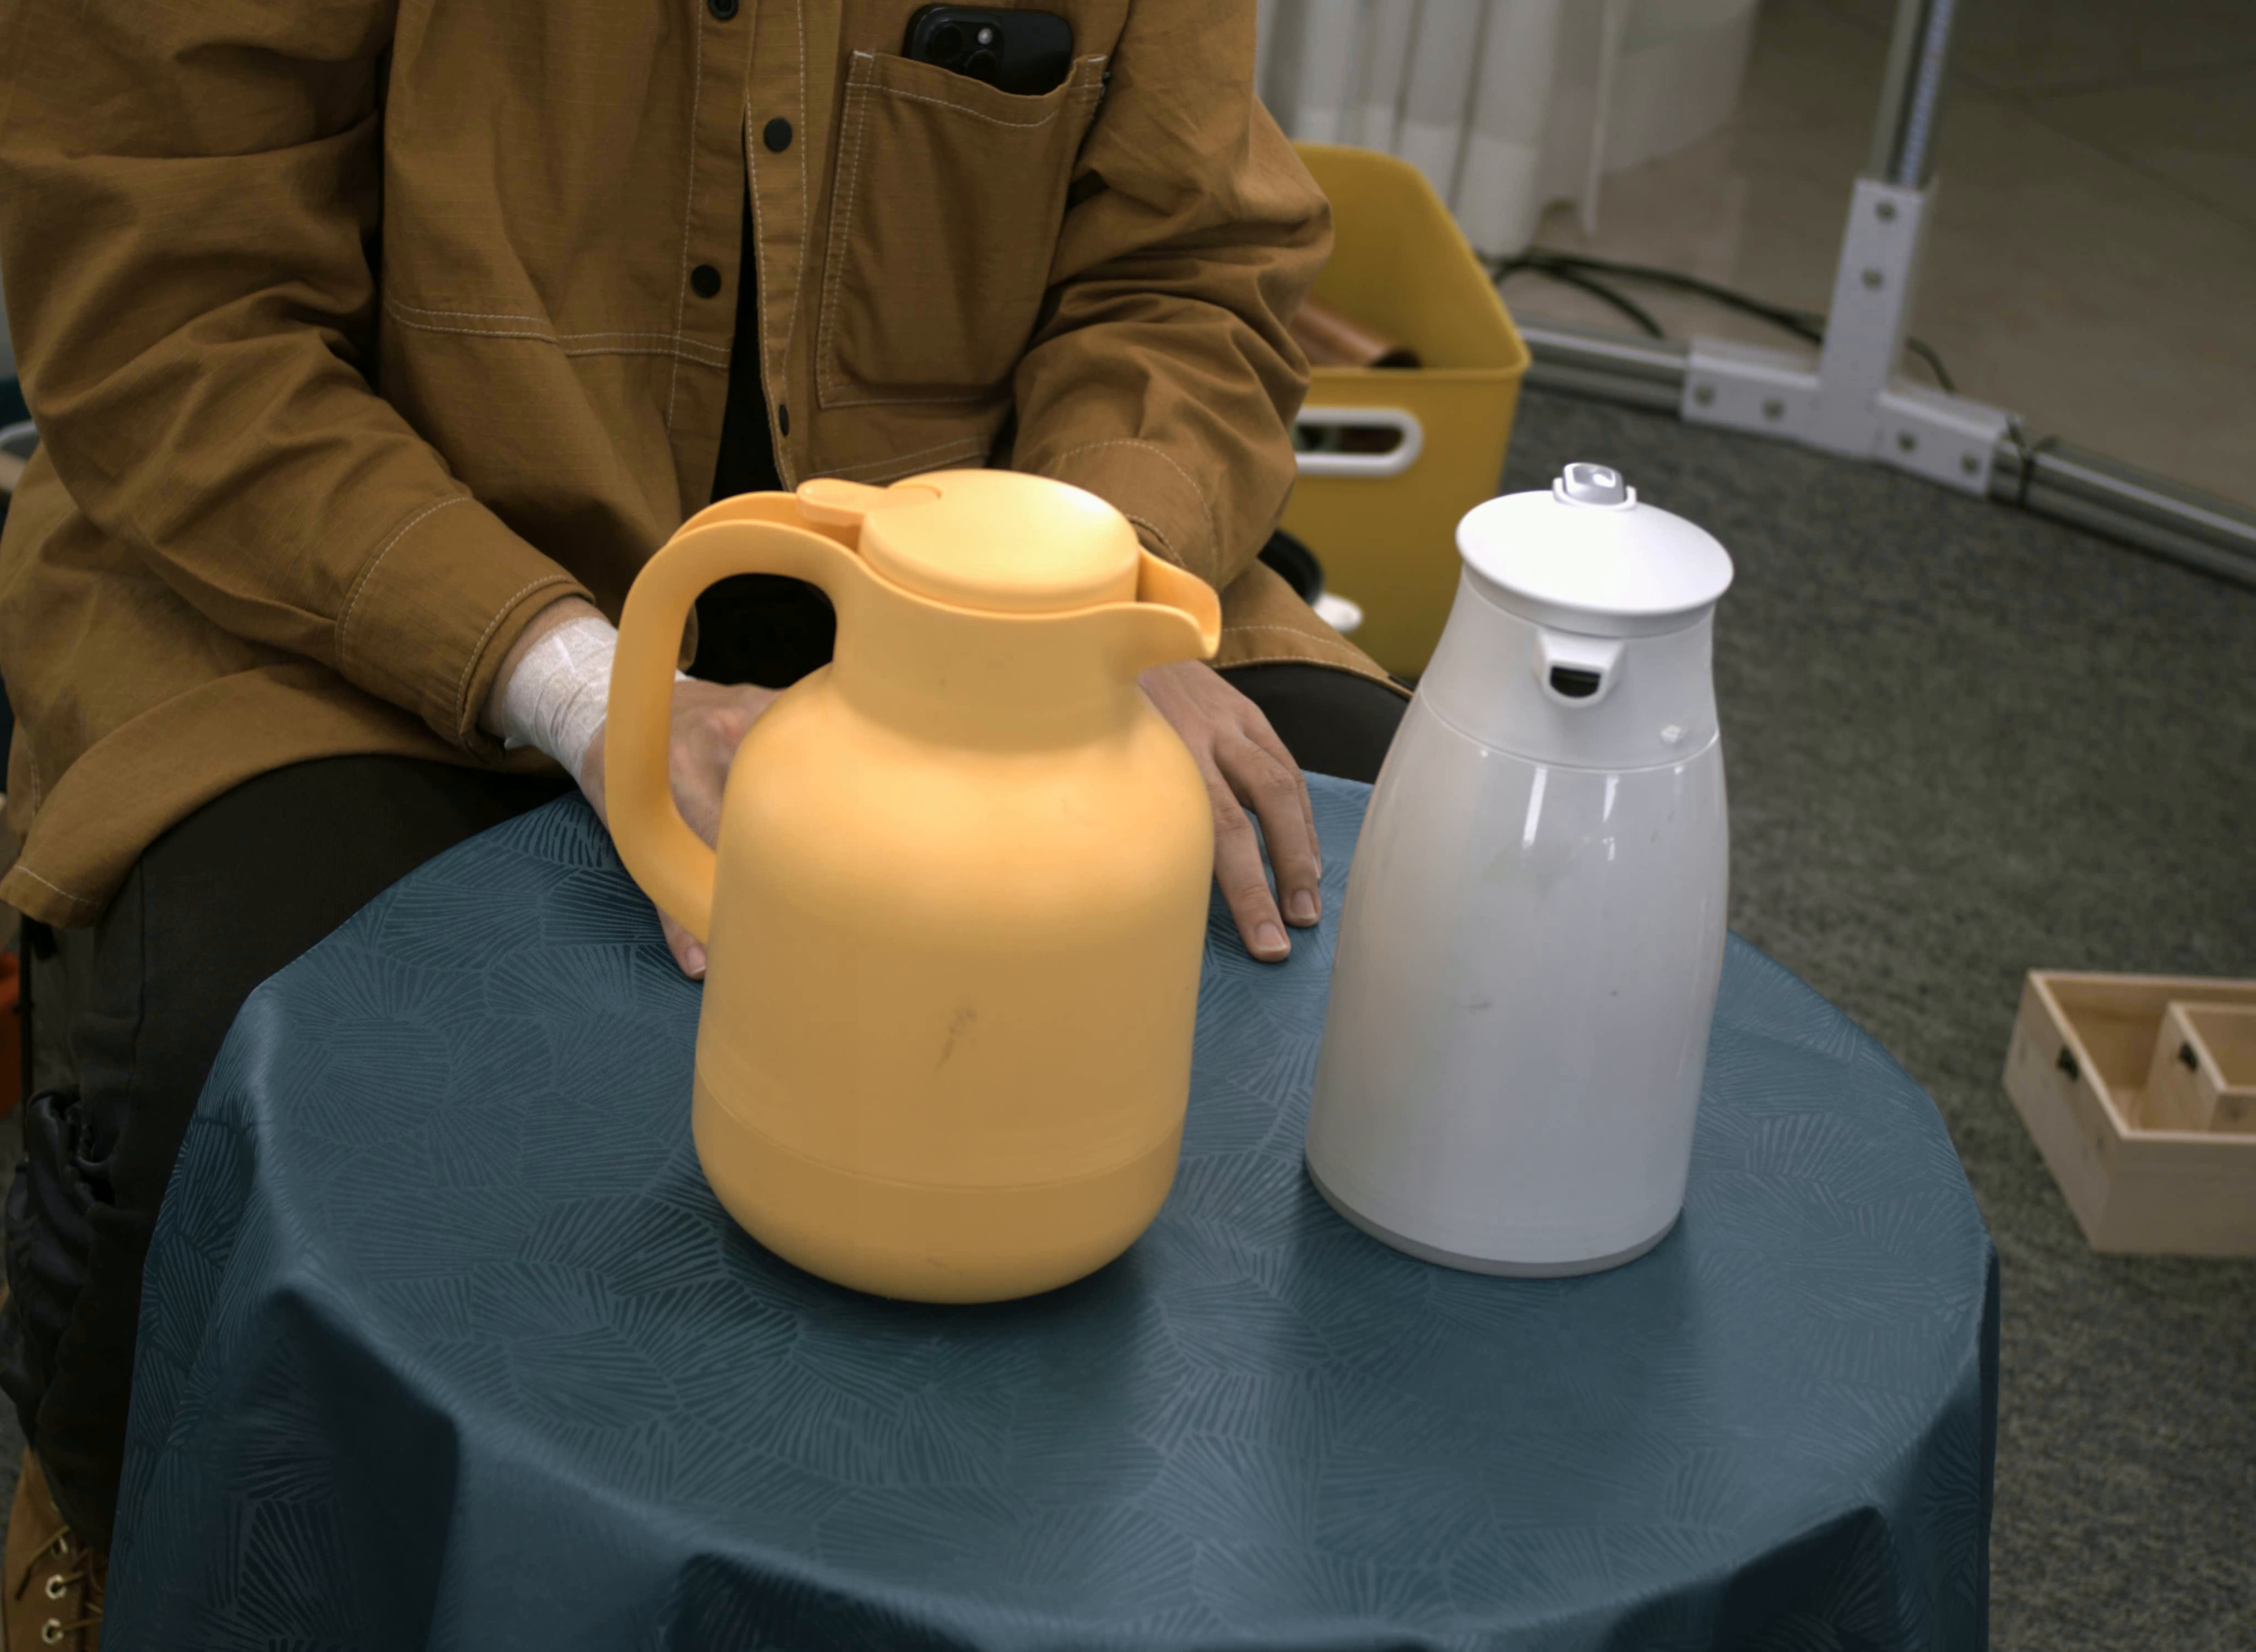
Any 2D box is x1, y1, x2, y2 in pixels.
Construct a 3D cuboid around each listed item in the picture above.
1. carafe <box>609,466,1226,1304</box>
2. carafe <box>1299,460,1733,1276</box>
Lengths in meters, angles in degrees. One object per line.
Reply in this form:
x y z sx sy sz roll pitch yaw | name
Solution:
-0.072 0.009 1.728 0.202 0.260 0.163 15 25 13 | carafe
0.139 0.003 1.800 0.132 0.248 0.168 9 26 3 | carafe
